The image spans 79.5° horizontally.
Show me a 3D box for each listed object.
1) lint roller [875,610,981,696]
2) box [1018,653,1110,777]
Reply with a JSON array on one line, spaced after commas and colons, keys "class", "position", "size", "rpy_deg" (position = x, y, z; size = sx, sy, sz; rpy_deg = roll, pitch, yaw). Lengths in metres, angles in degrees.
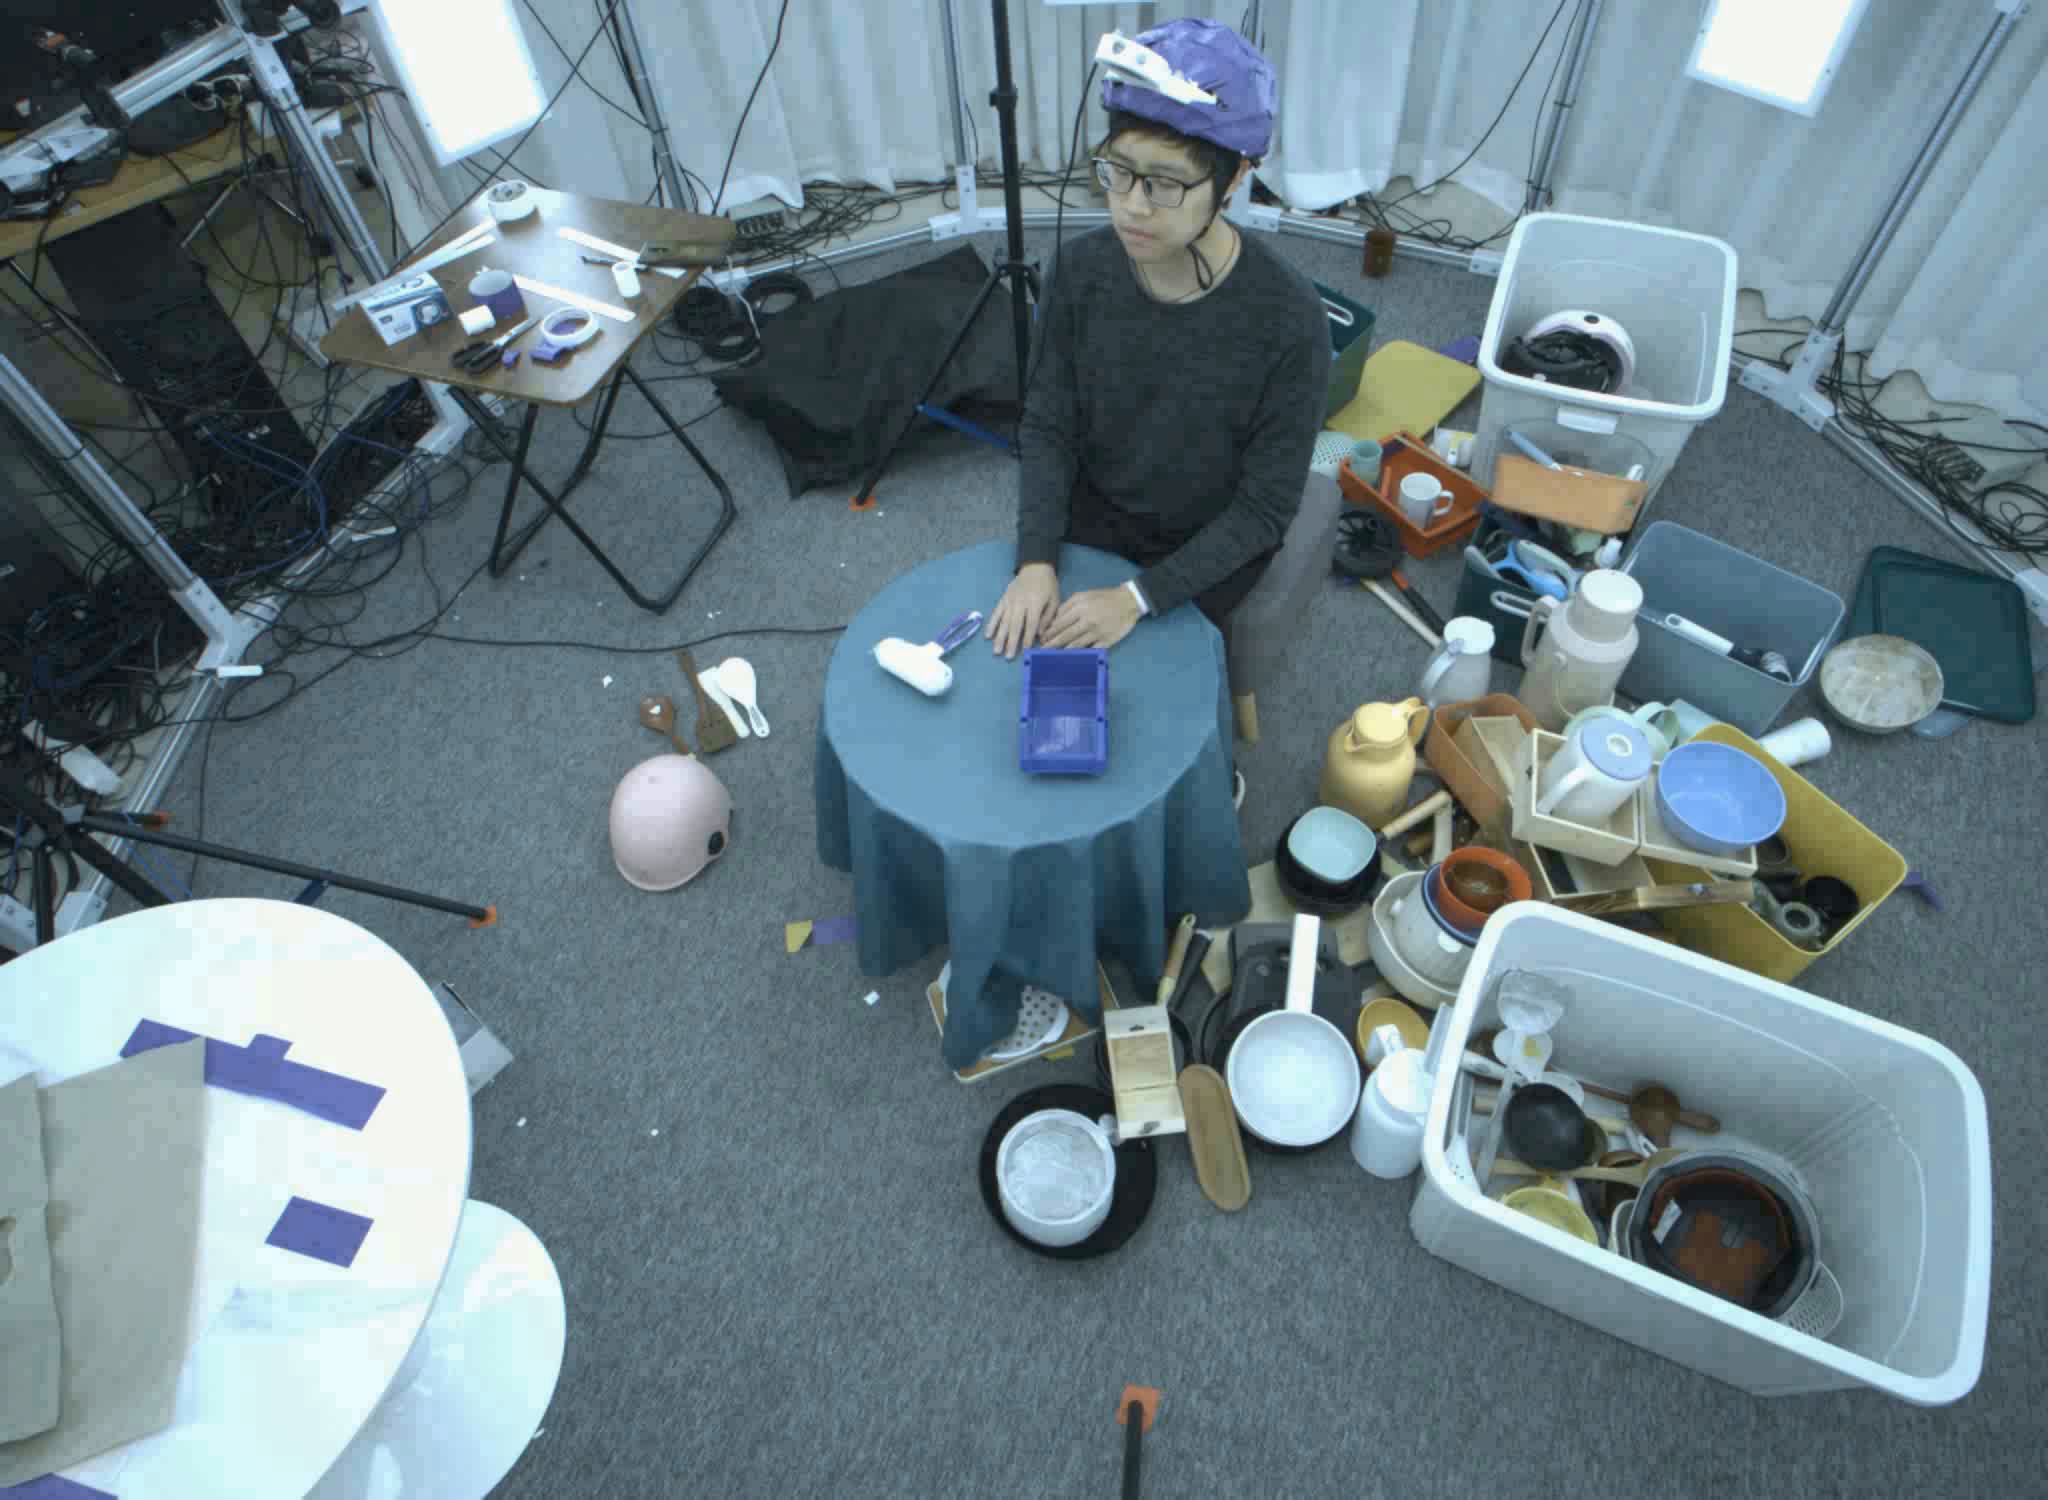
[{"class": "lint roller", "position": [-0.128, -0.167, 1.881], "size": [0.130, 0.051, 0.182], "rpy_deg": [33, 64, 24]}, {"class": "box", "position": [0.059, -0.046, 1.768], "size": [0.124, 0.083, 0.178], "rpy_deg": [1, 52, 3]}]
